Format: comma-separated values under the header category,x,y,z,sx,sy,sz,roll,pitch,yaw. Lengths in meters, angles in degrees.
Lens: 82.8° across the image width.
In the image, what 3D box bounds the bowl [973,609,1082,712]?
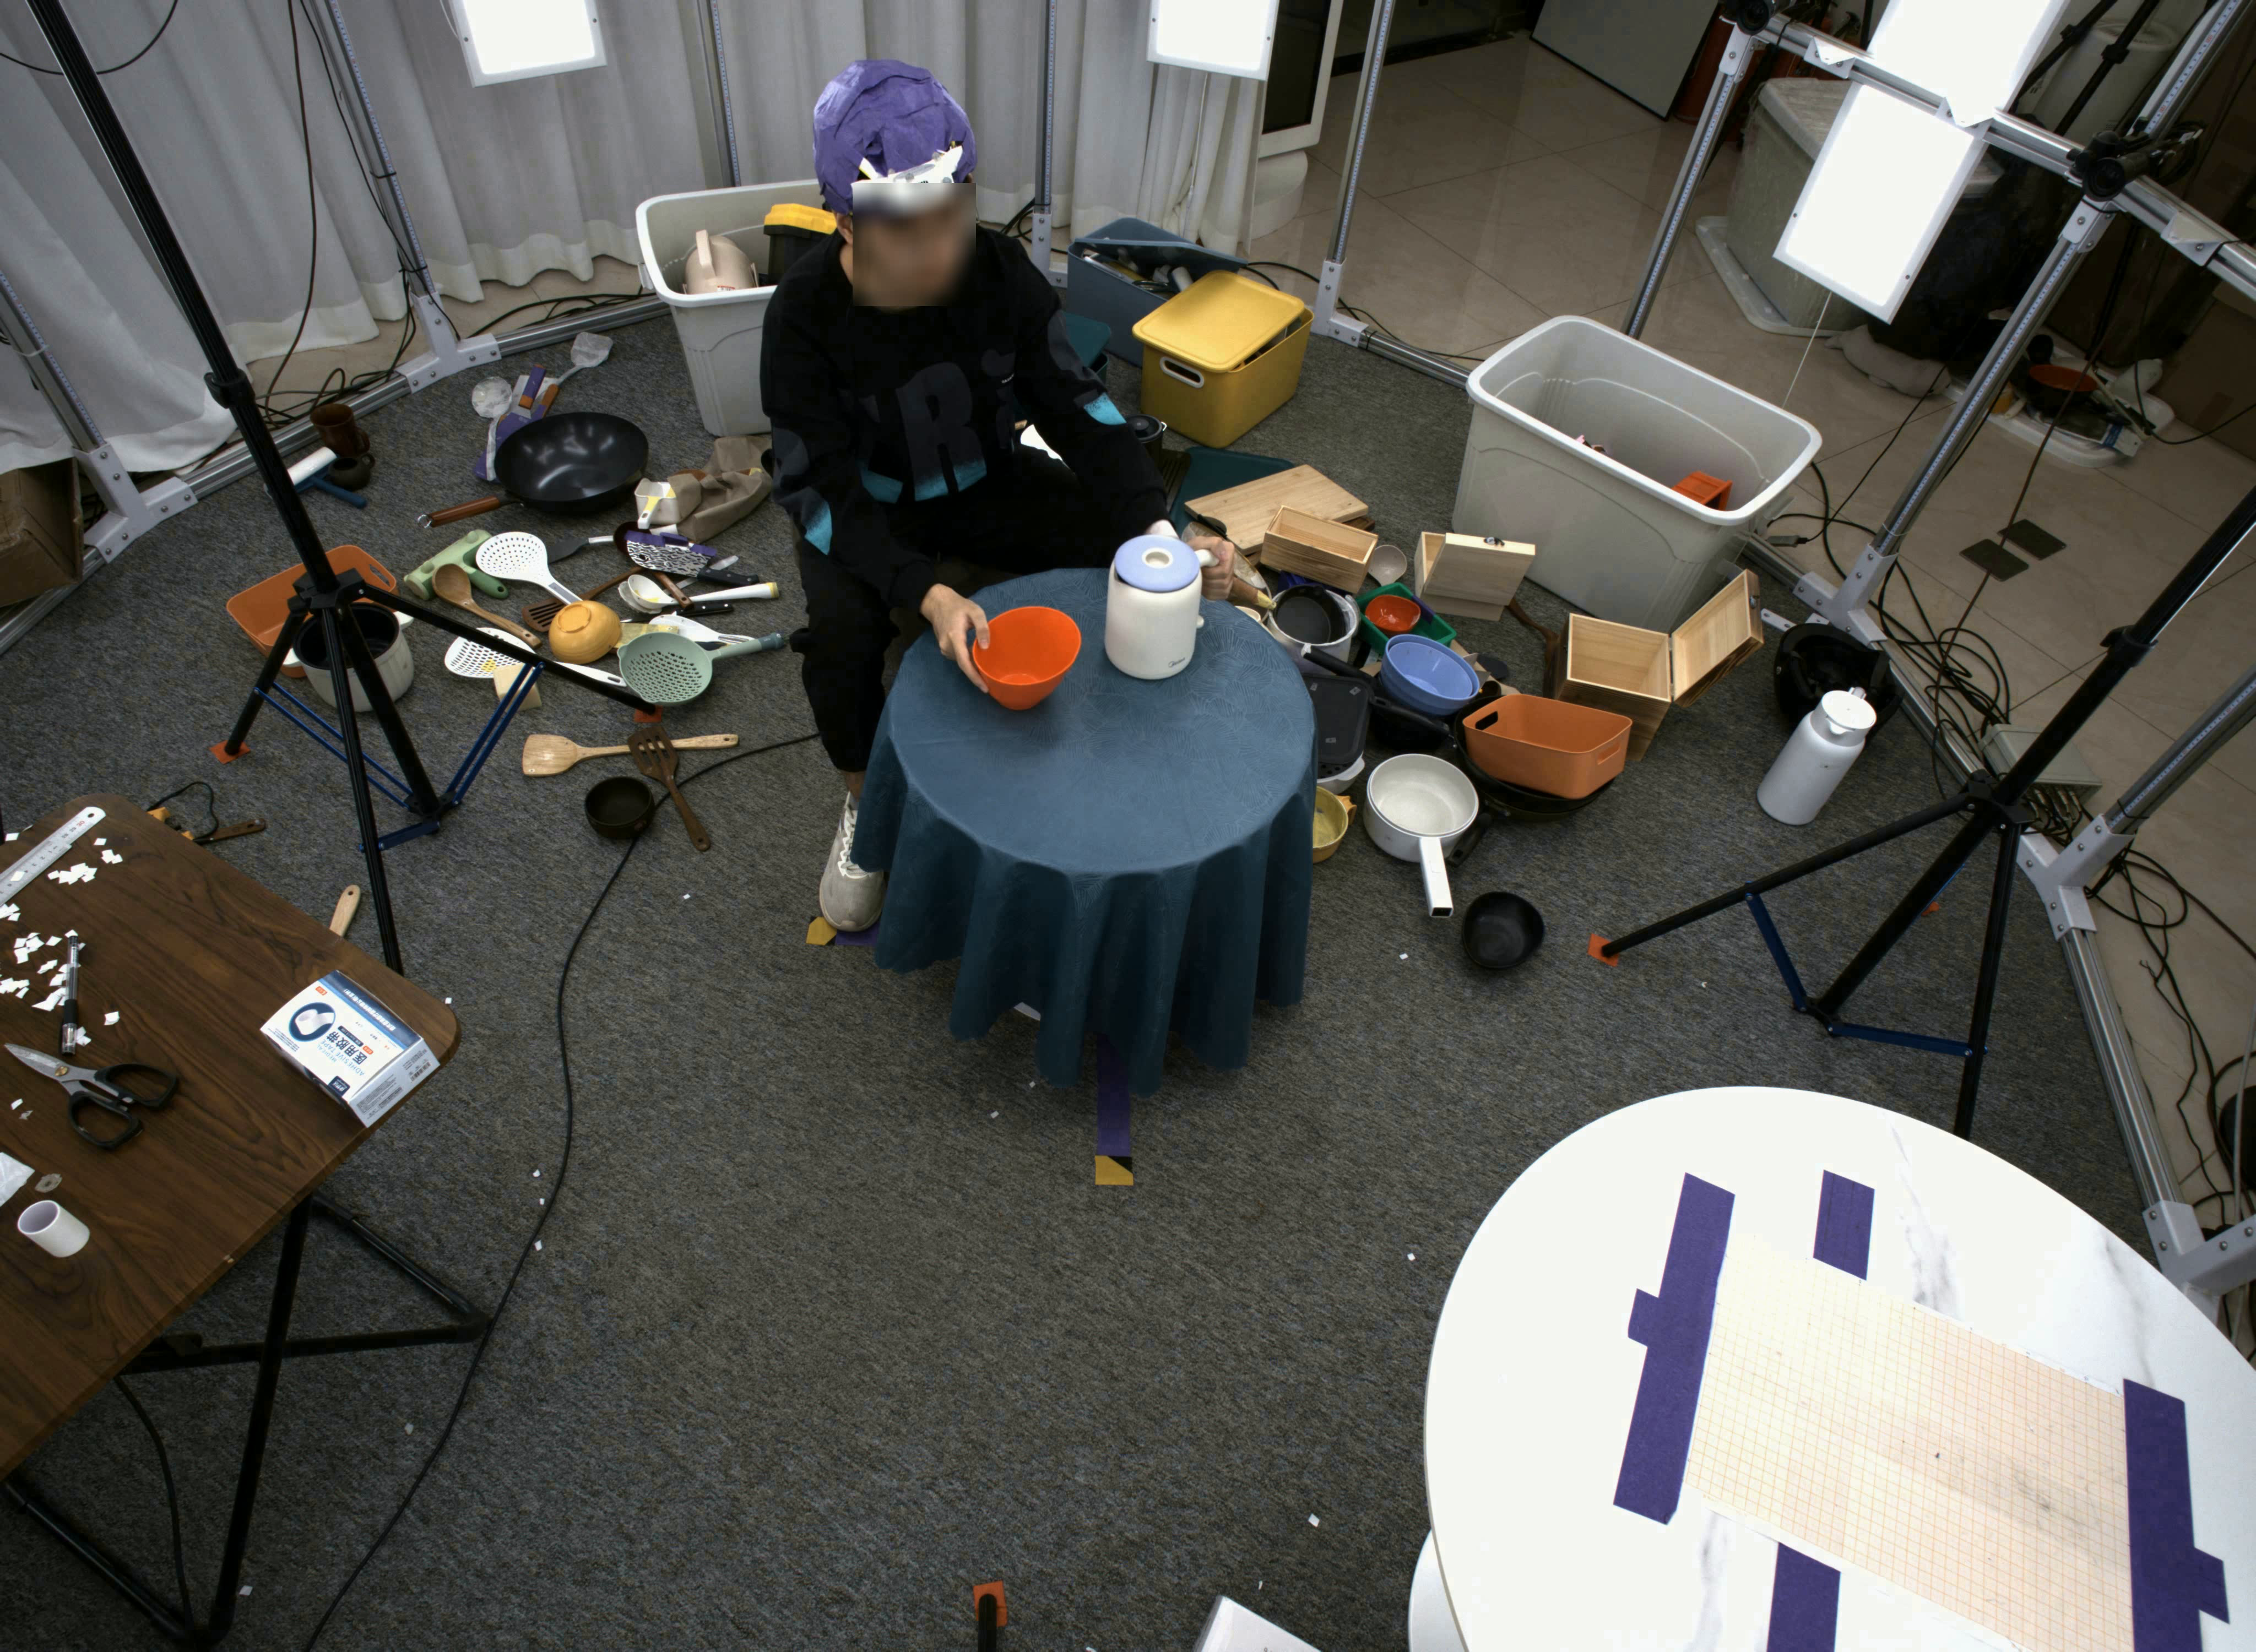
category,x,y,z,sx,sy,sz,roll,pitch,yaw
bowl,-0.140,-0.219,1.785,0.148,0.102,0.152,3,49,-3

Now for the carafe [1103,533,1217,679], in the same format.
category,x,y,z,sx,sy,sz,roll,pitch,yaw
carafe,0.054,-0.323,1.841,0.192,0.178,0.134,-27,58,-27
